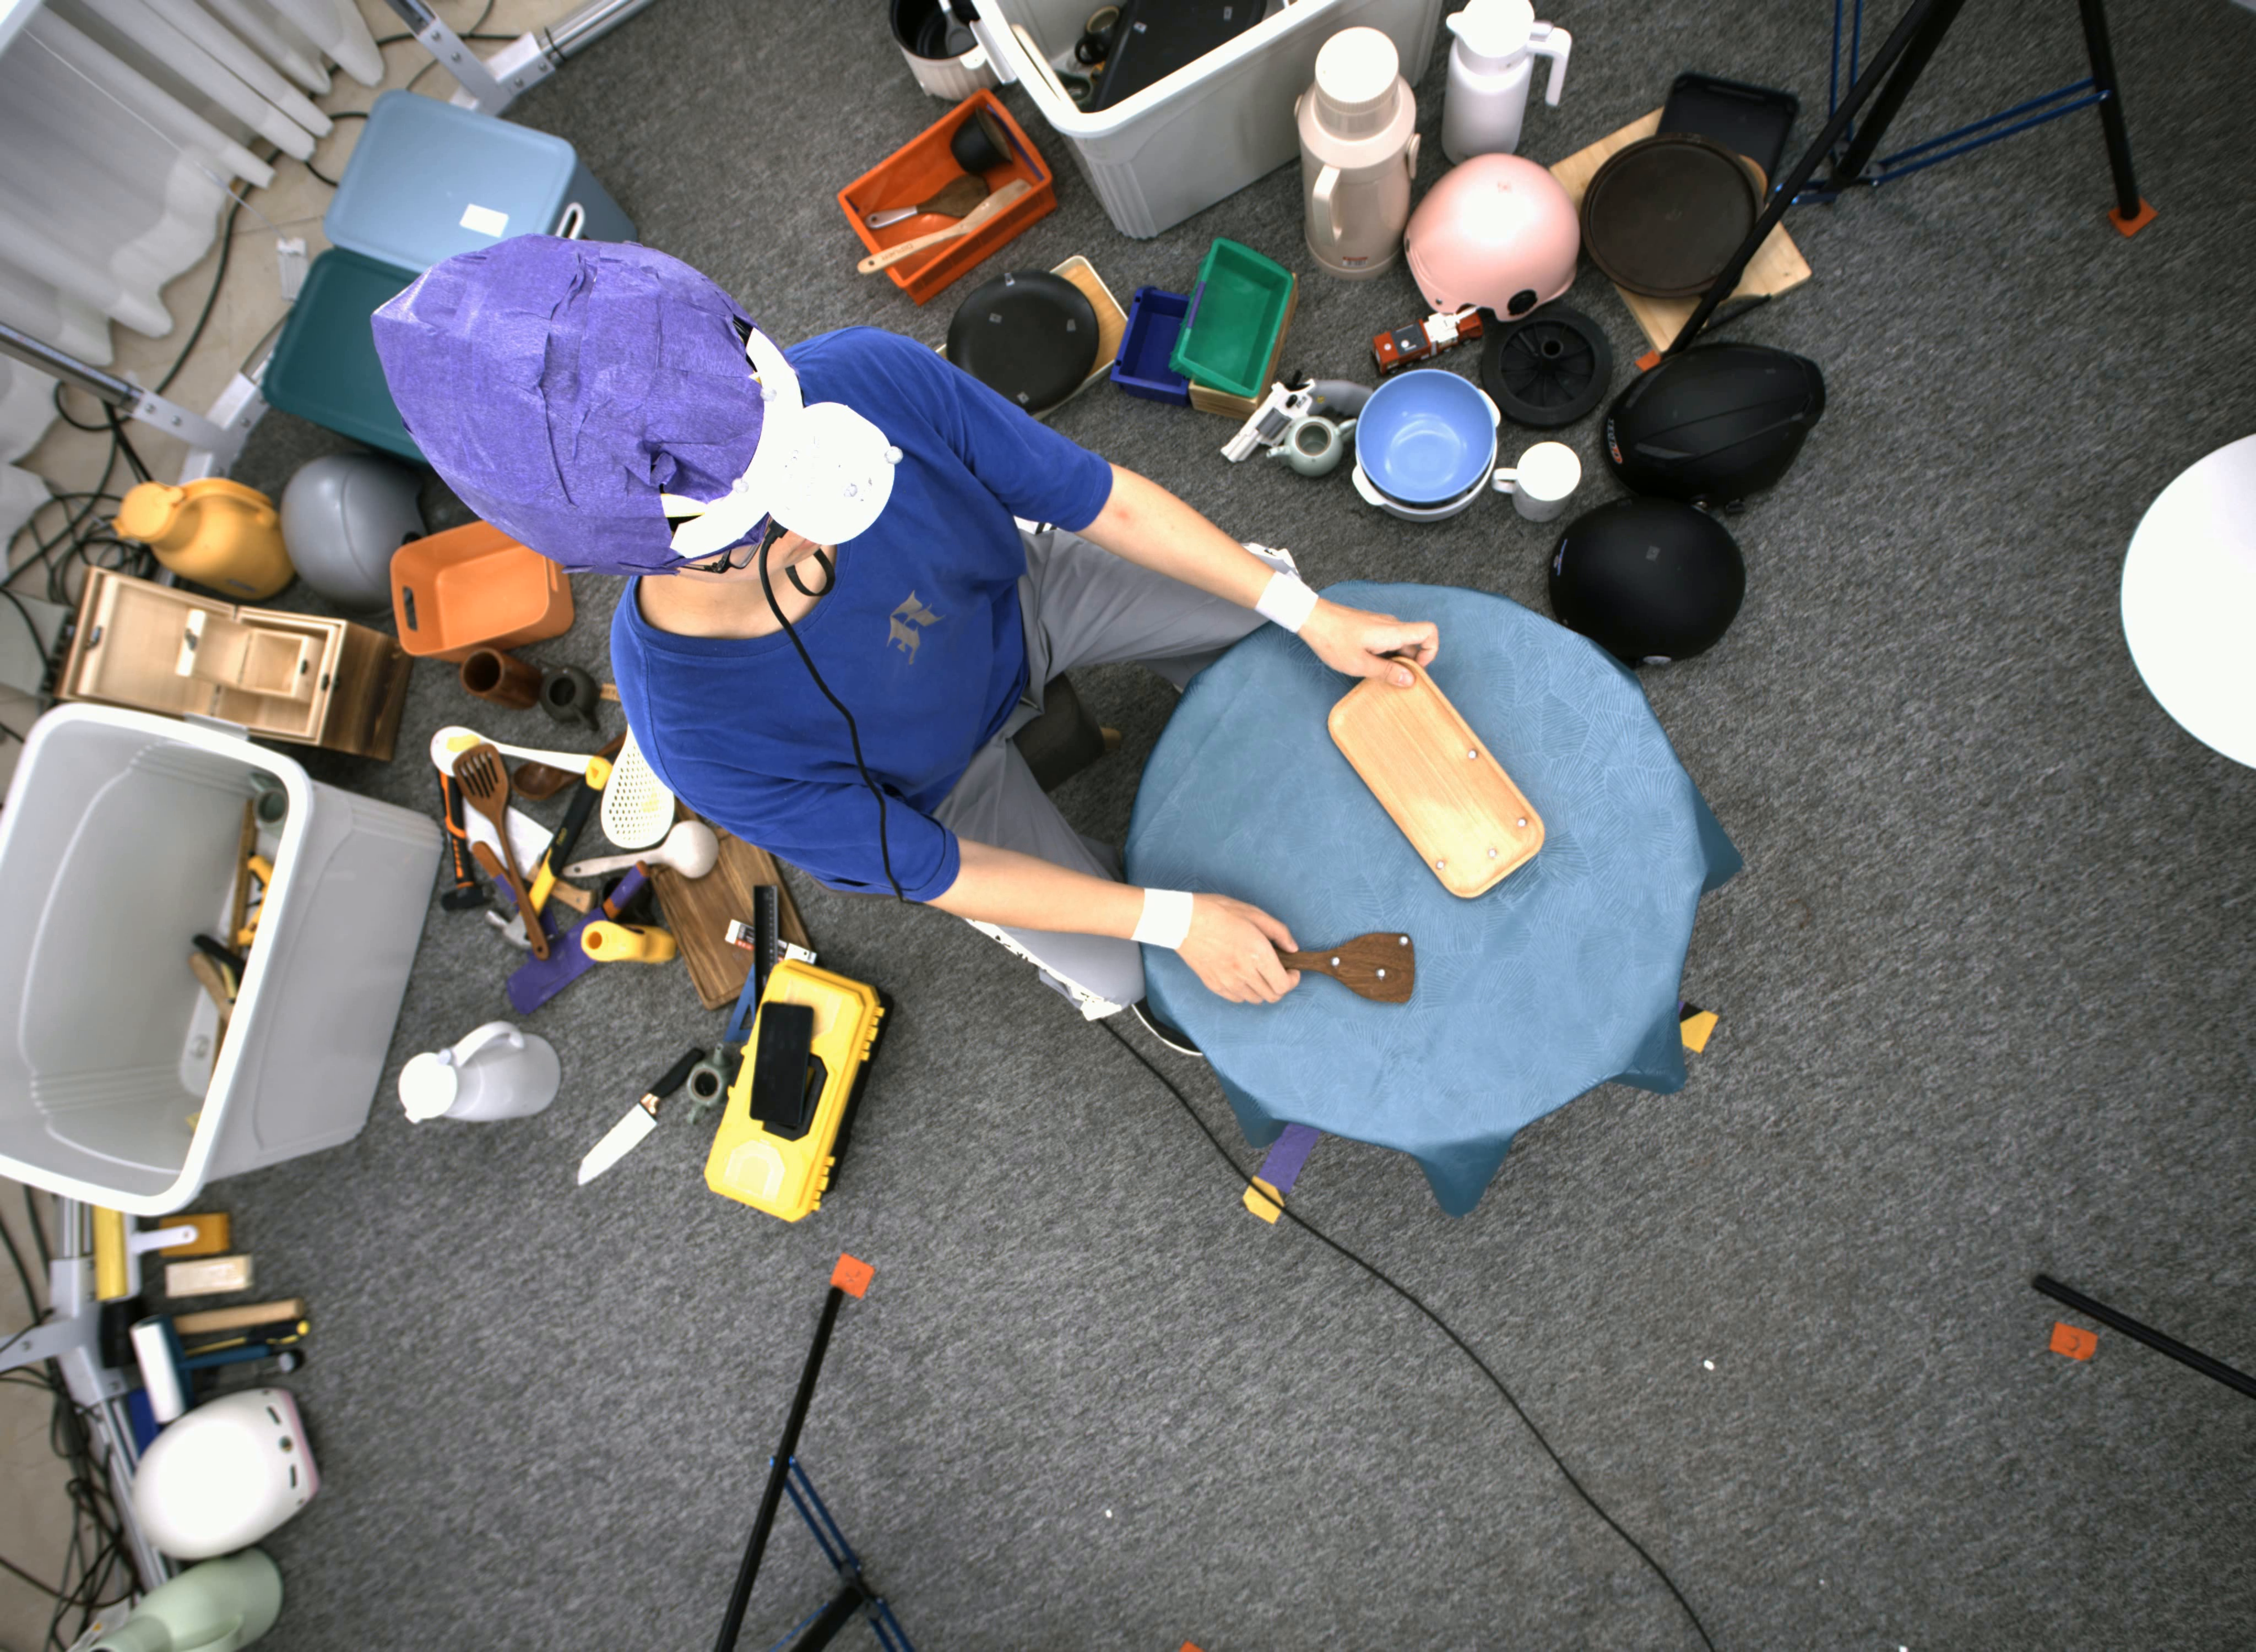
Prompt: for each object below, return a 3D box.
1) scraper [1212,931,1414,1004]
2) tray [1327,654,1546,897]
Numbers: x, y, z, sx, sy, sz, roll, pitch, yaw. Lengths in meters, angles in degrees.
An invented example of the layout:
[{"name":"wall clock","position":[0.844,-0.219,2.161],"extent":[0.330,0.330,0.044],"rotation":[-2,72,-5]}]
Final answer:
[{"name":"scraper","position":[0.193,0.140,1.449],"extent":[0.211,0.011,0.075],"rotation":[5,81,2]},{"name":"tray","position":[0.317,-0.054,1.421],"extent":[0.133,0.022,0.249],"rotation":[-41,80,32]}]
